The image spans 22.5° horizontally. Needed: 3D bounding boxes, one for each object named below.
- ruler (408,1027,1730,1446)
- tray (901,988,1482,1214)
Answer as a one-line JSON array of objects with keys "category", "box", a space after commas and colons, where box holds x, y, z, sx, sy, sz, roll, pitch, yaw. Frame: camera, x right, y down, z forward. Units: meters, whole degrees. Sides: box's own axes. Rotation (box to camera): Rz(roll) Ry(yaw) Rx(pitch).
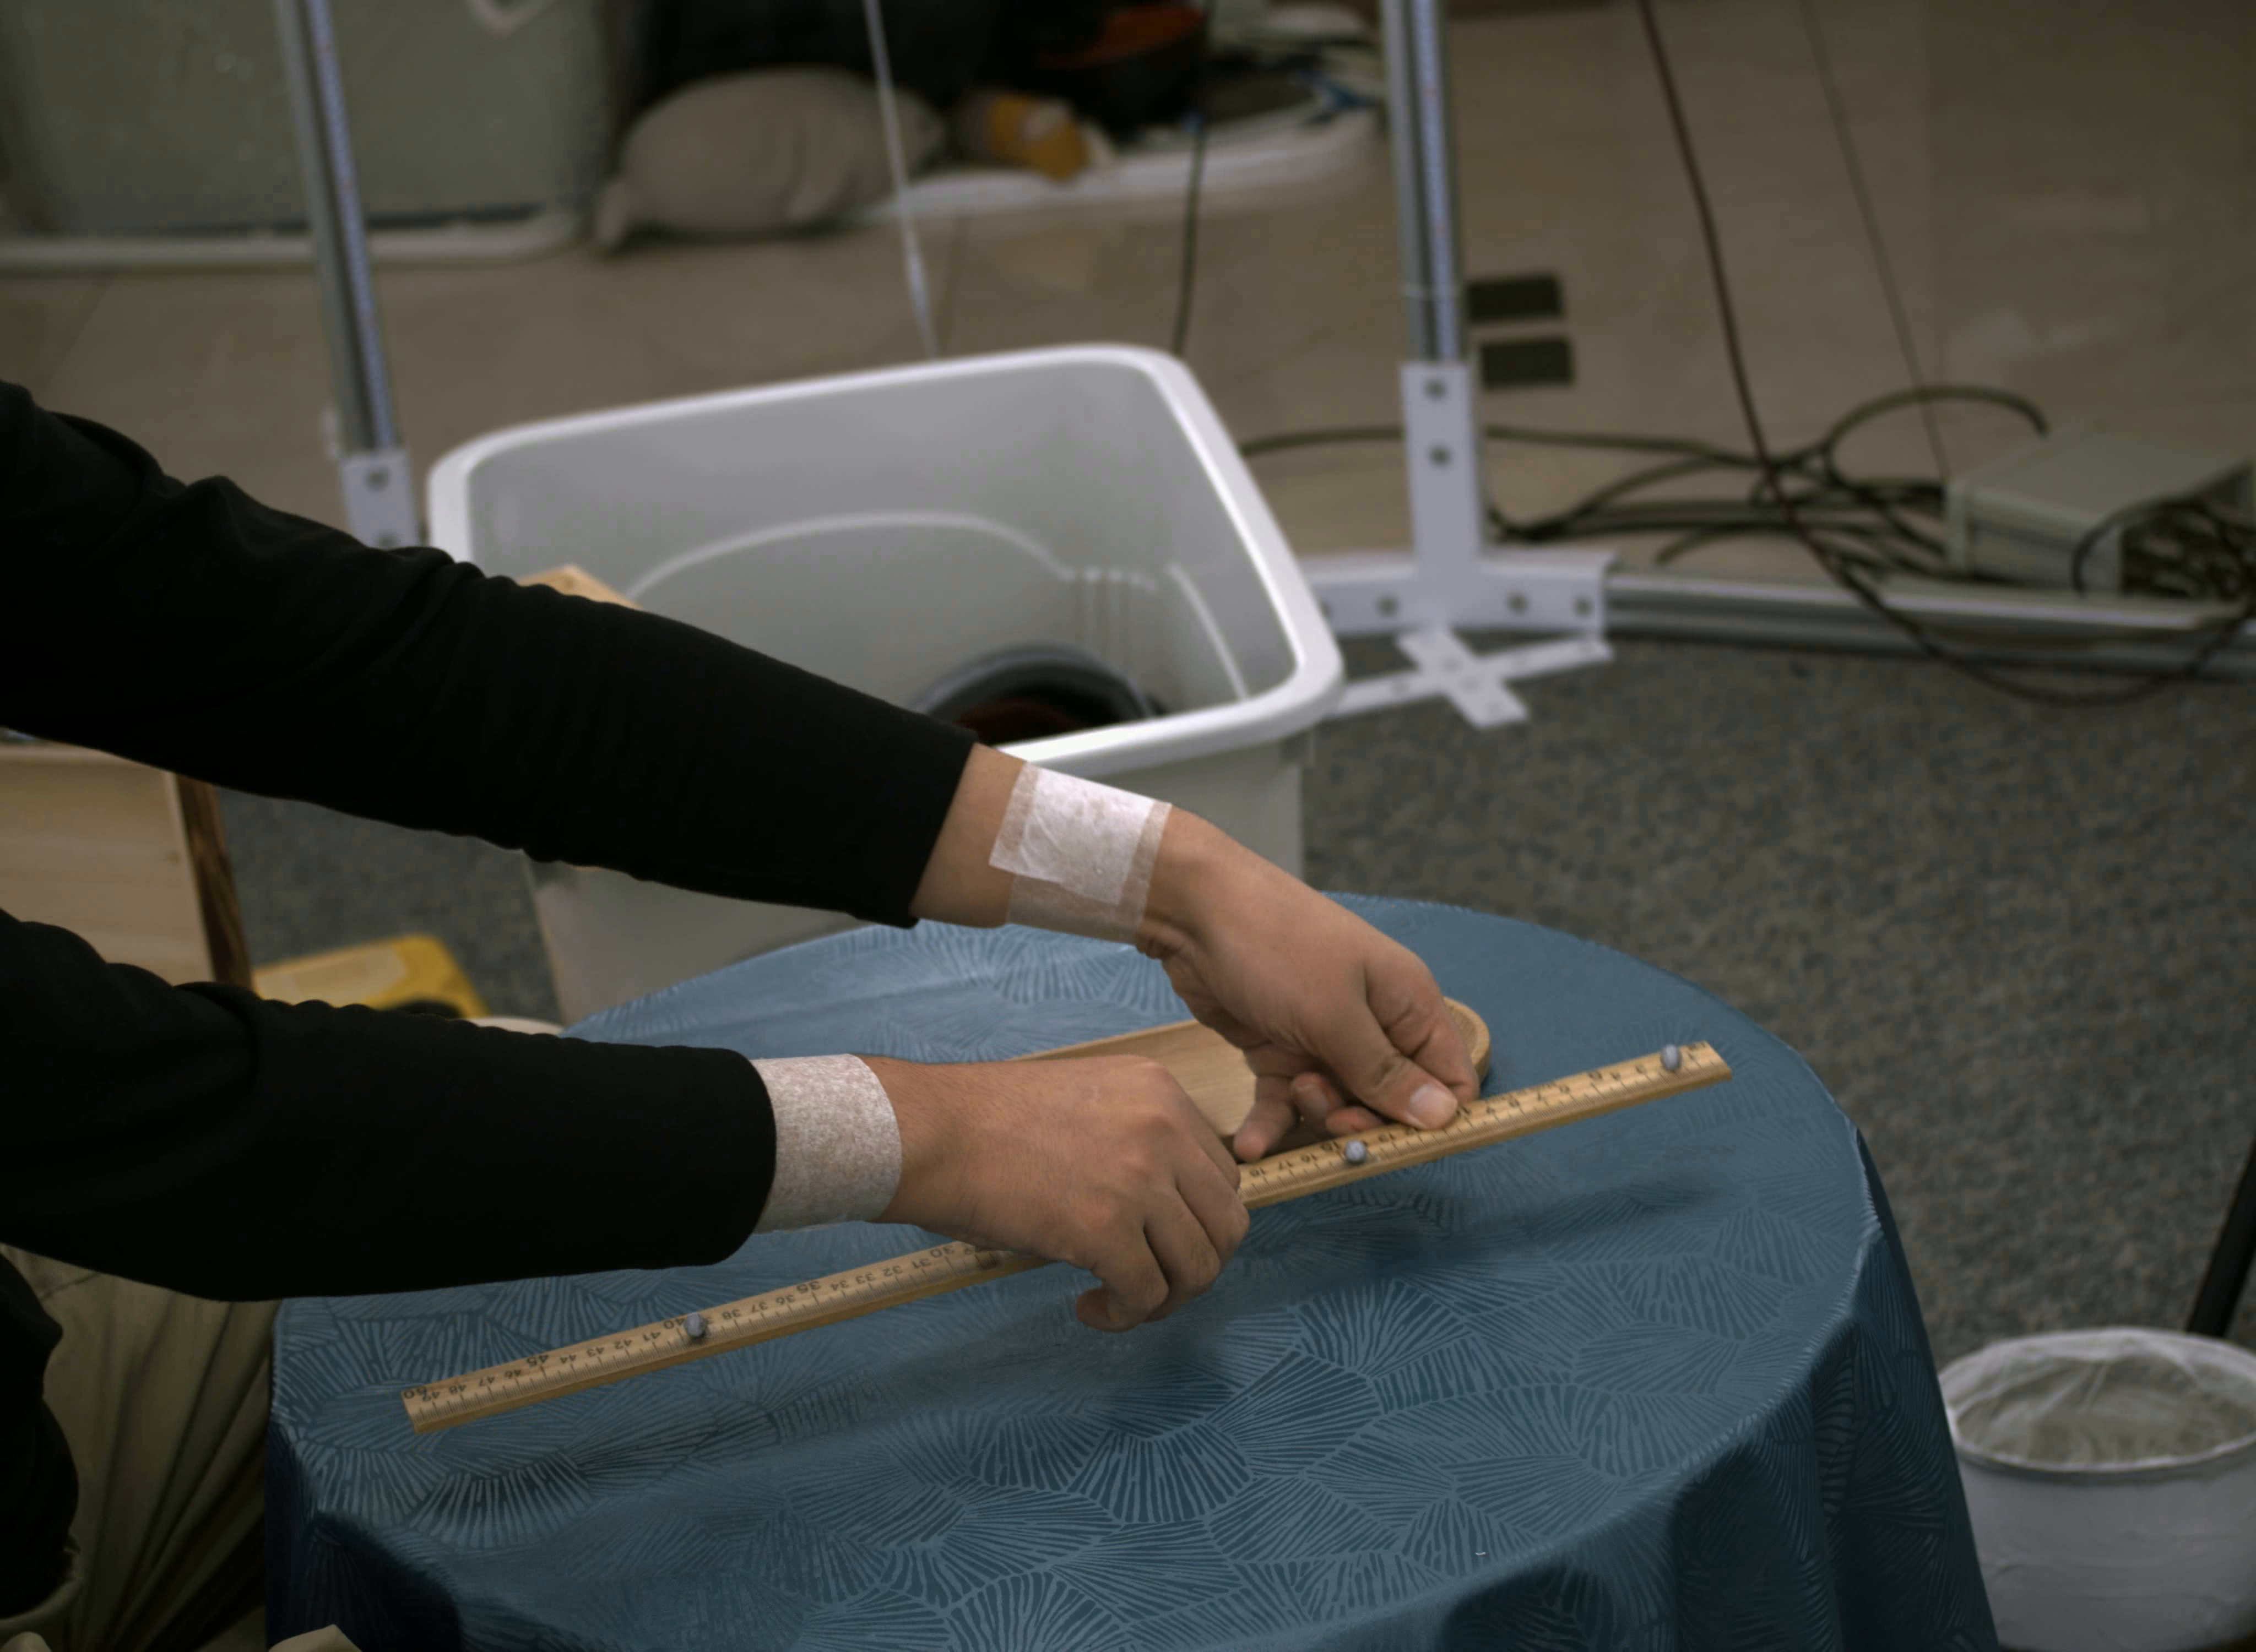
[{"category": "ruler", "box": [-0.017, 0.145, 2.045, 0.499, 0.006, 0.026, -16, 22, -11]}, {"category": "tray", "box": [0.025, 0.106, 2.192, 0.230, 0.020, 0.100, -14, 24, -12]}]
